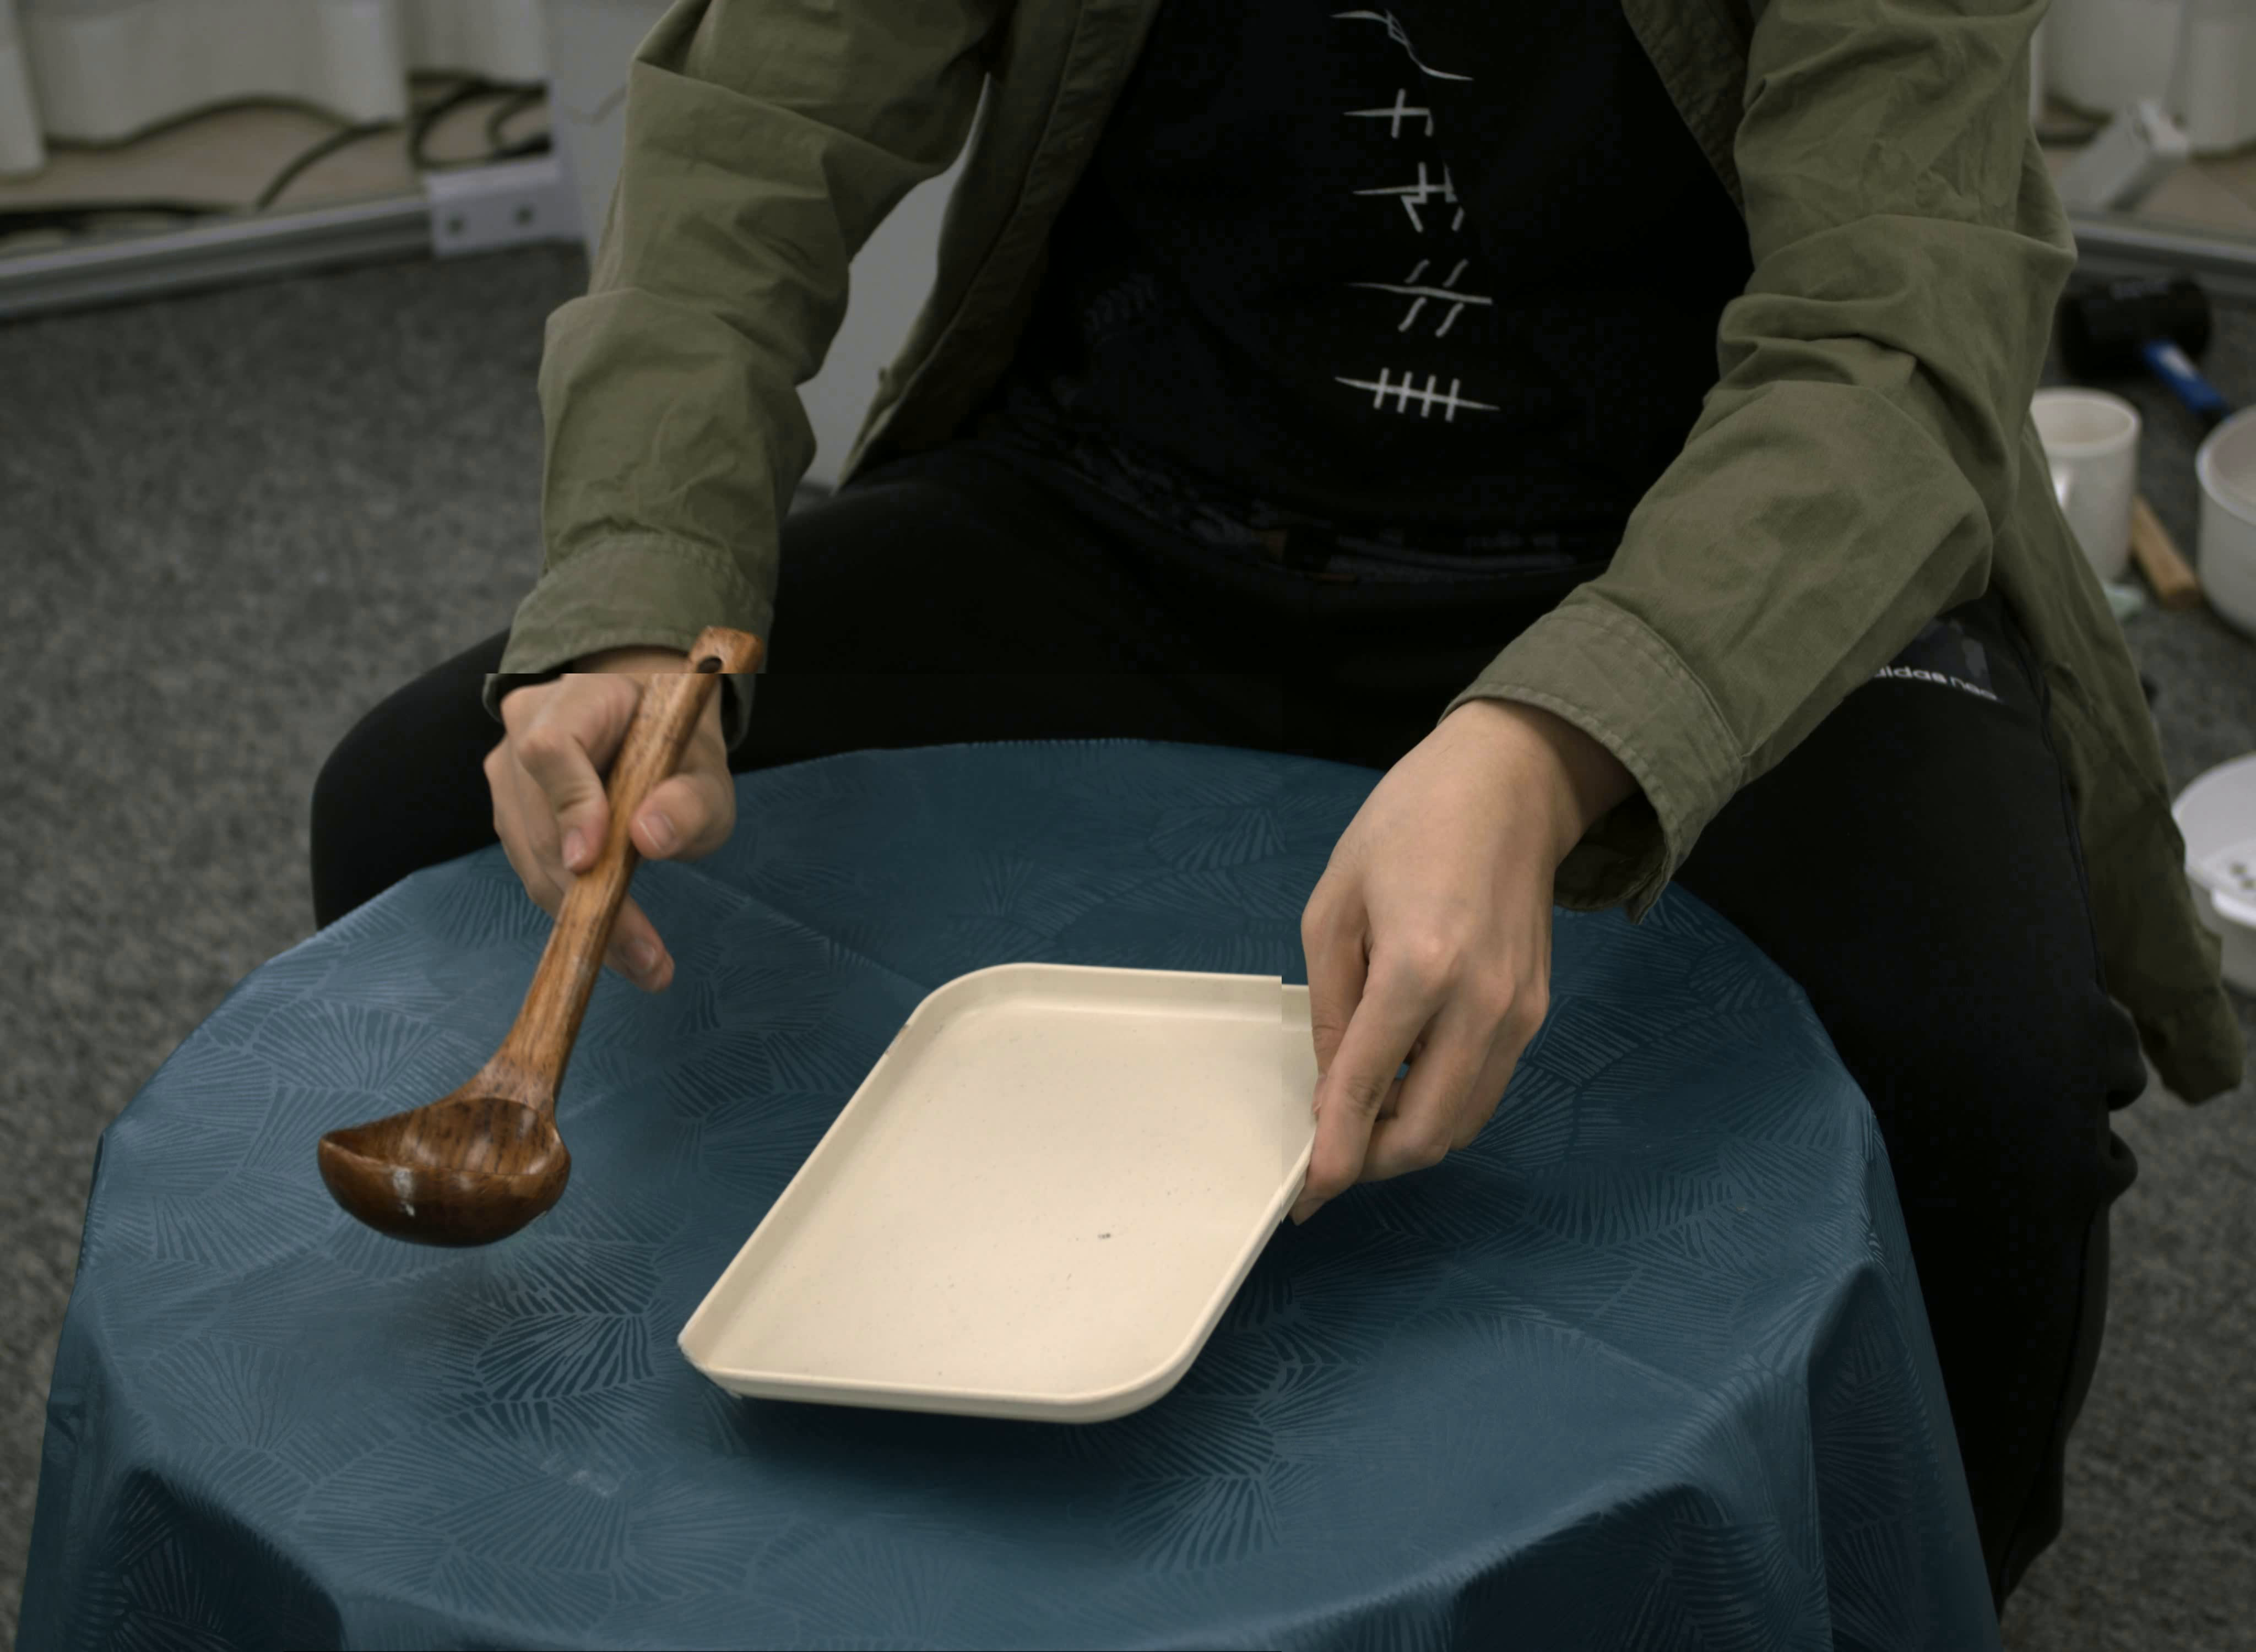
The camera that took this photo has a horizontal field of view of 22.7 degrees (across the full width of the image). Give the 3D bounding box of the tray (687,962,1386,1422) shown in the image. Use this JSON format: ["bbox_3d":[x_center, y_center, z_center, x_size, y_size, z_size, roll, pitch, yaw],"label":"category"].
[{"bbox_3d":[-0.025,0.115,1.791,0.170,0.017,0.244,2,31,23],"label":"tray"}]

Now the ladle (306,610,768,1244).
[{"bbox_3d":[-0.186,0.022,1.839,0.081,0.075,0.279,13,59,15],"label":"ladle"}]
